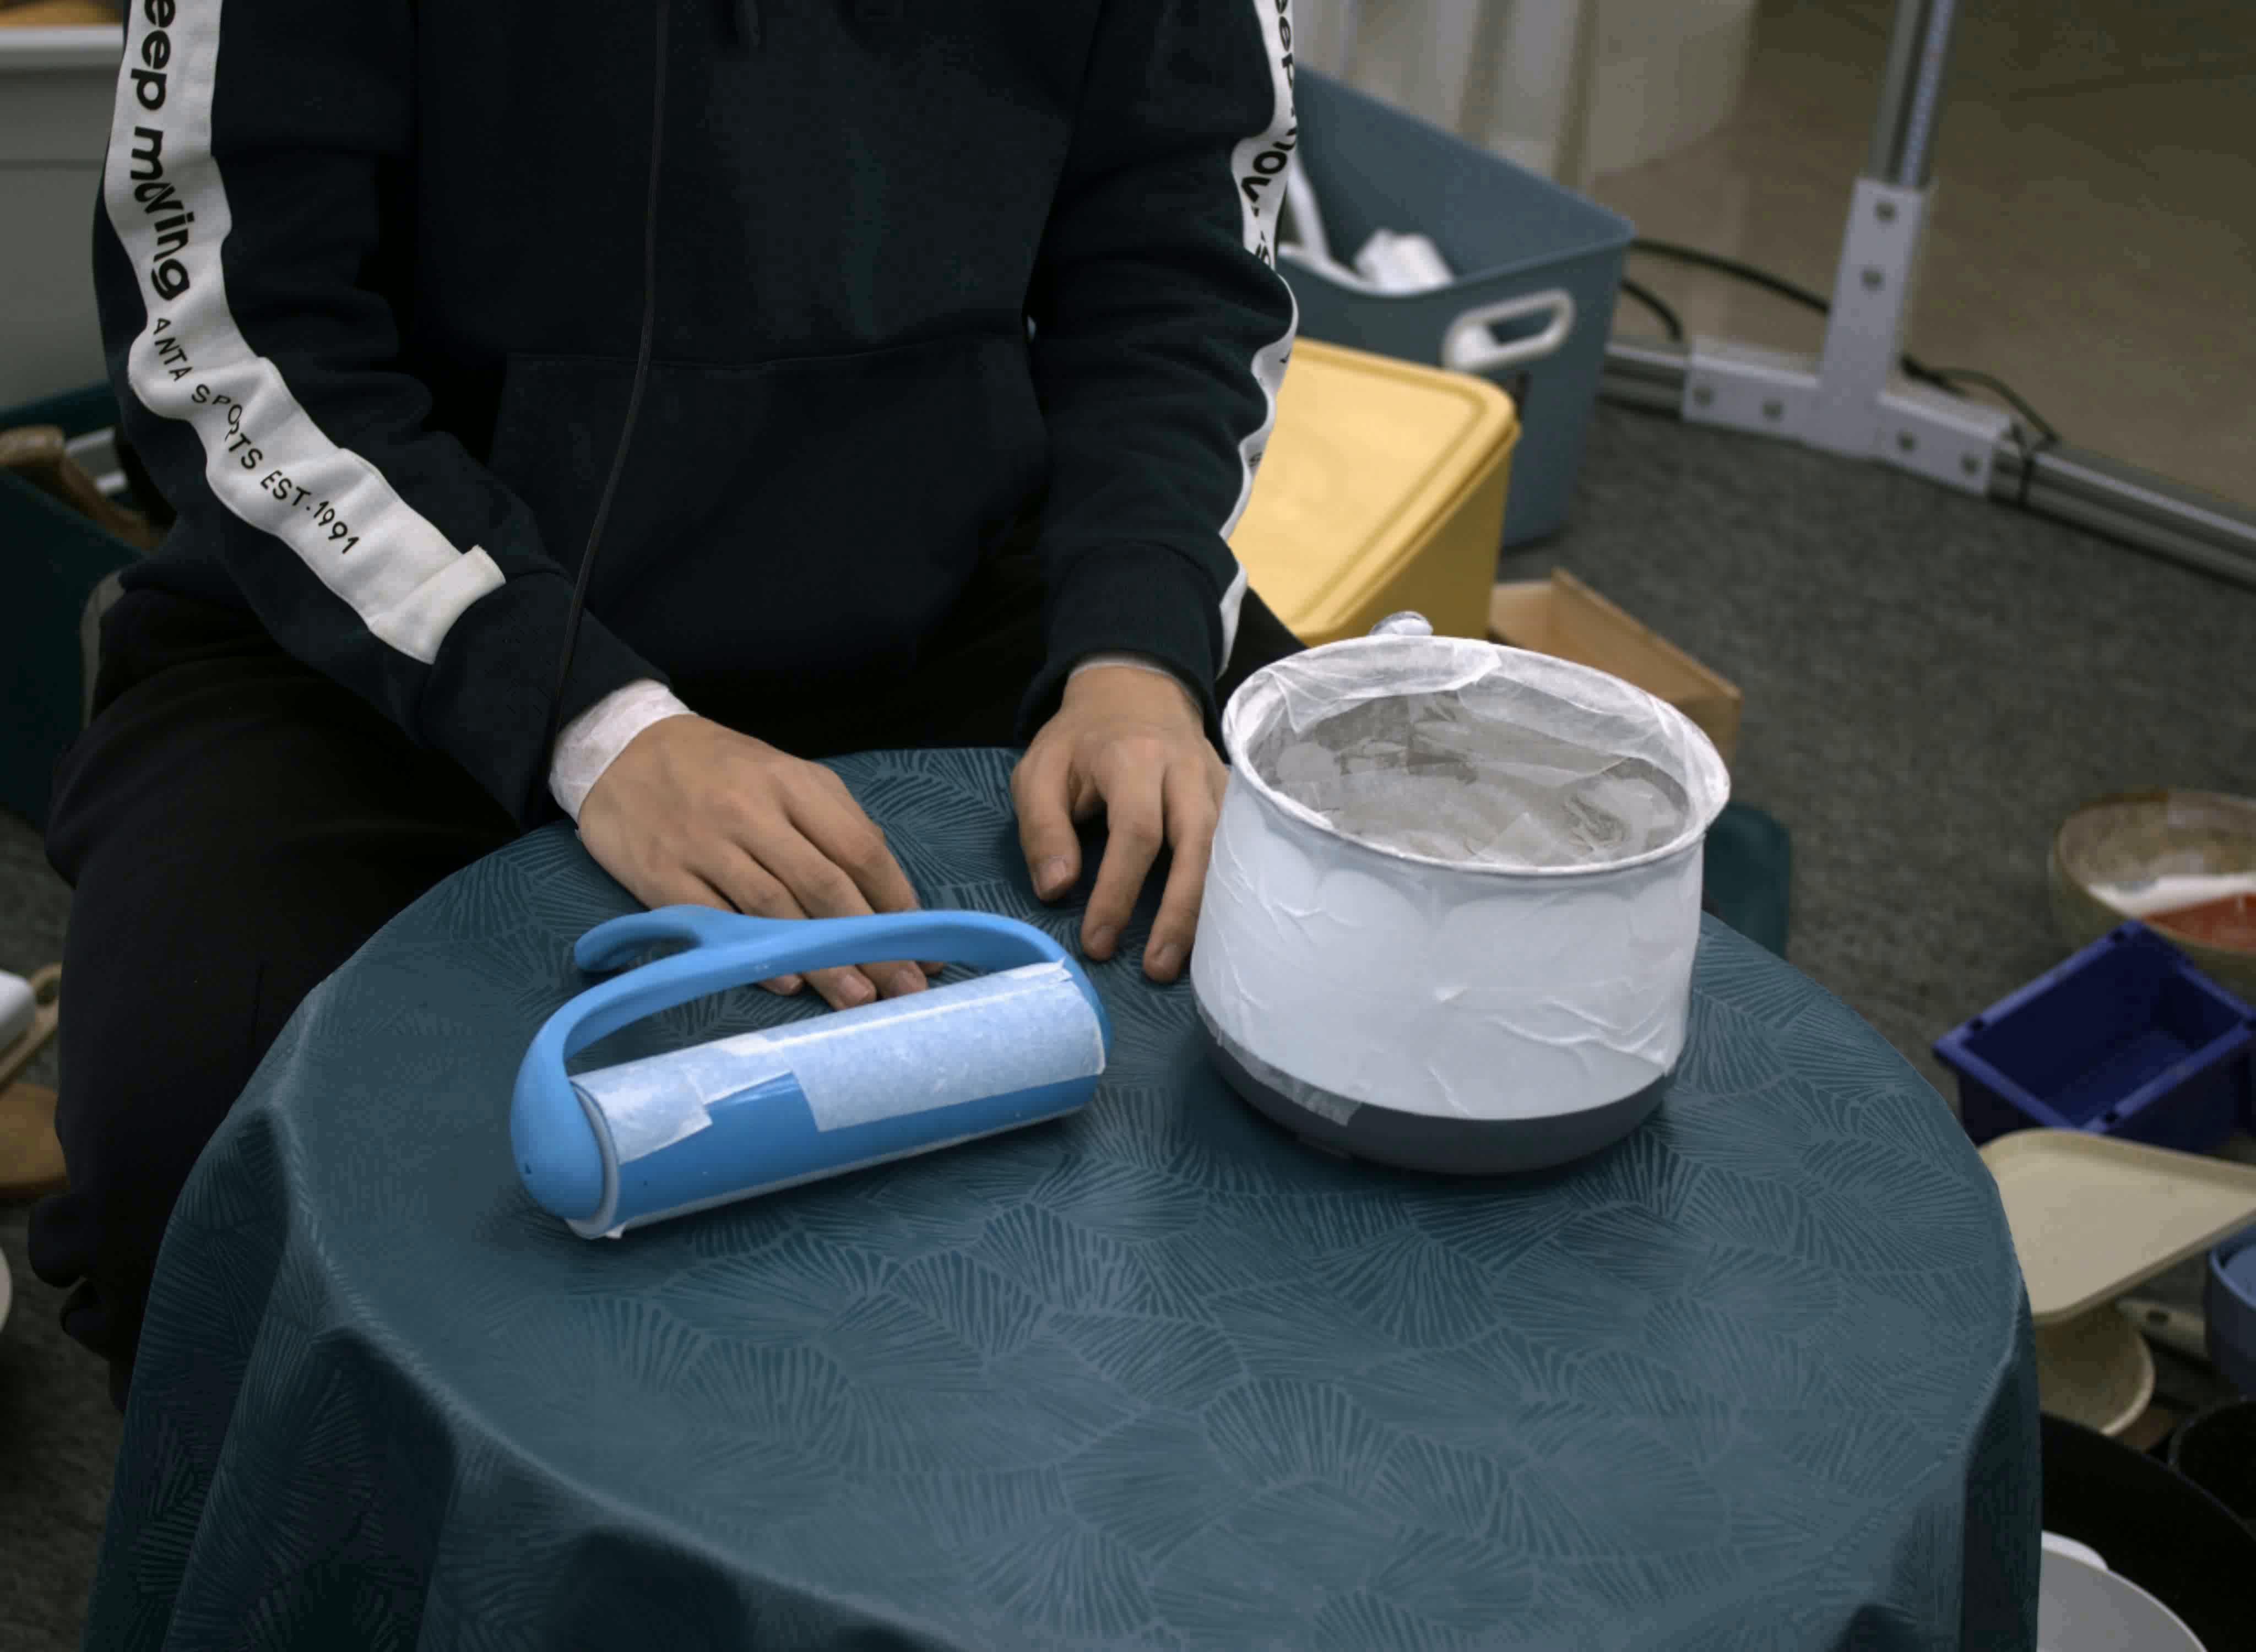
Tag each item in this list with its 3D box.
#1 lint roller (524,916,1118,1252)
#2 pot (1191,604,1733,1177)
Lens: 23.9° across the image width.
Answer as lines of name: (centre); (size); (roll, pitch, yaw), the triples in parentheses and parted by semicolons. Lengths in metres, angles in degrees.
lint roller: (-0.136, 0.067, 1.819); (0.227, 0.067, 0.182); (-17, 36, -35)
pot: (0.107, 0.015, 1.880); (0.178, 0.136, 0.235); (0, 29, -13)
